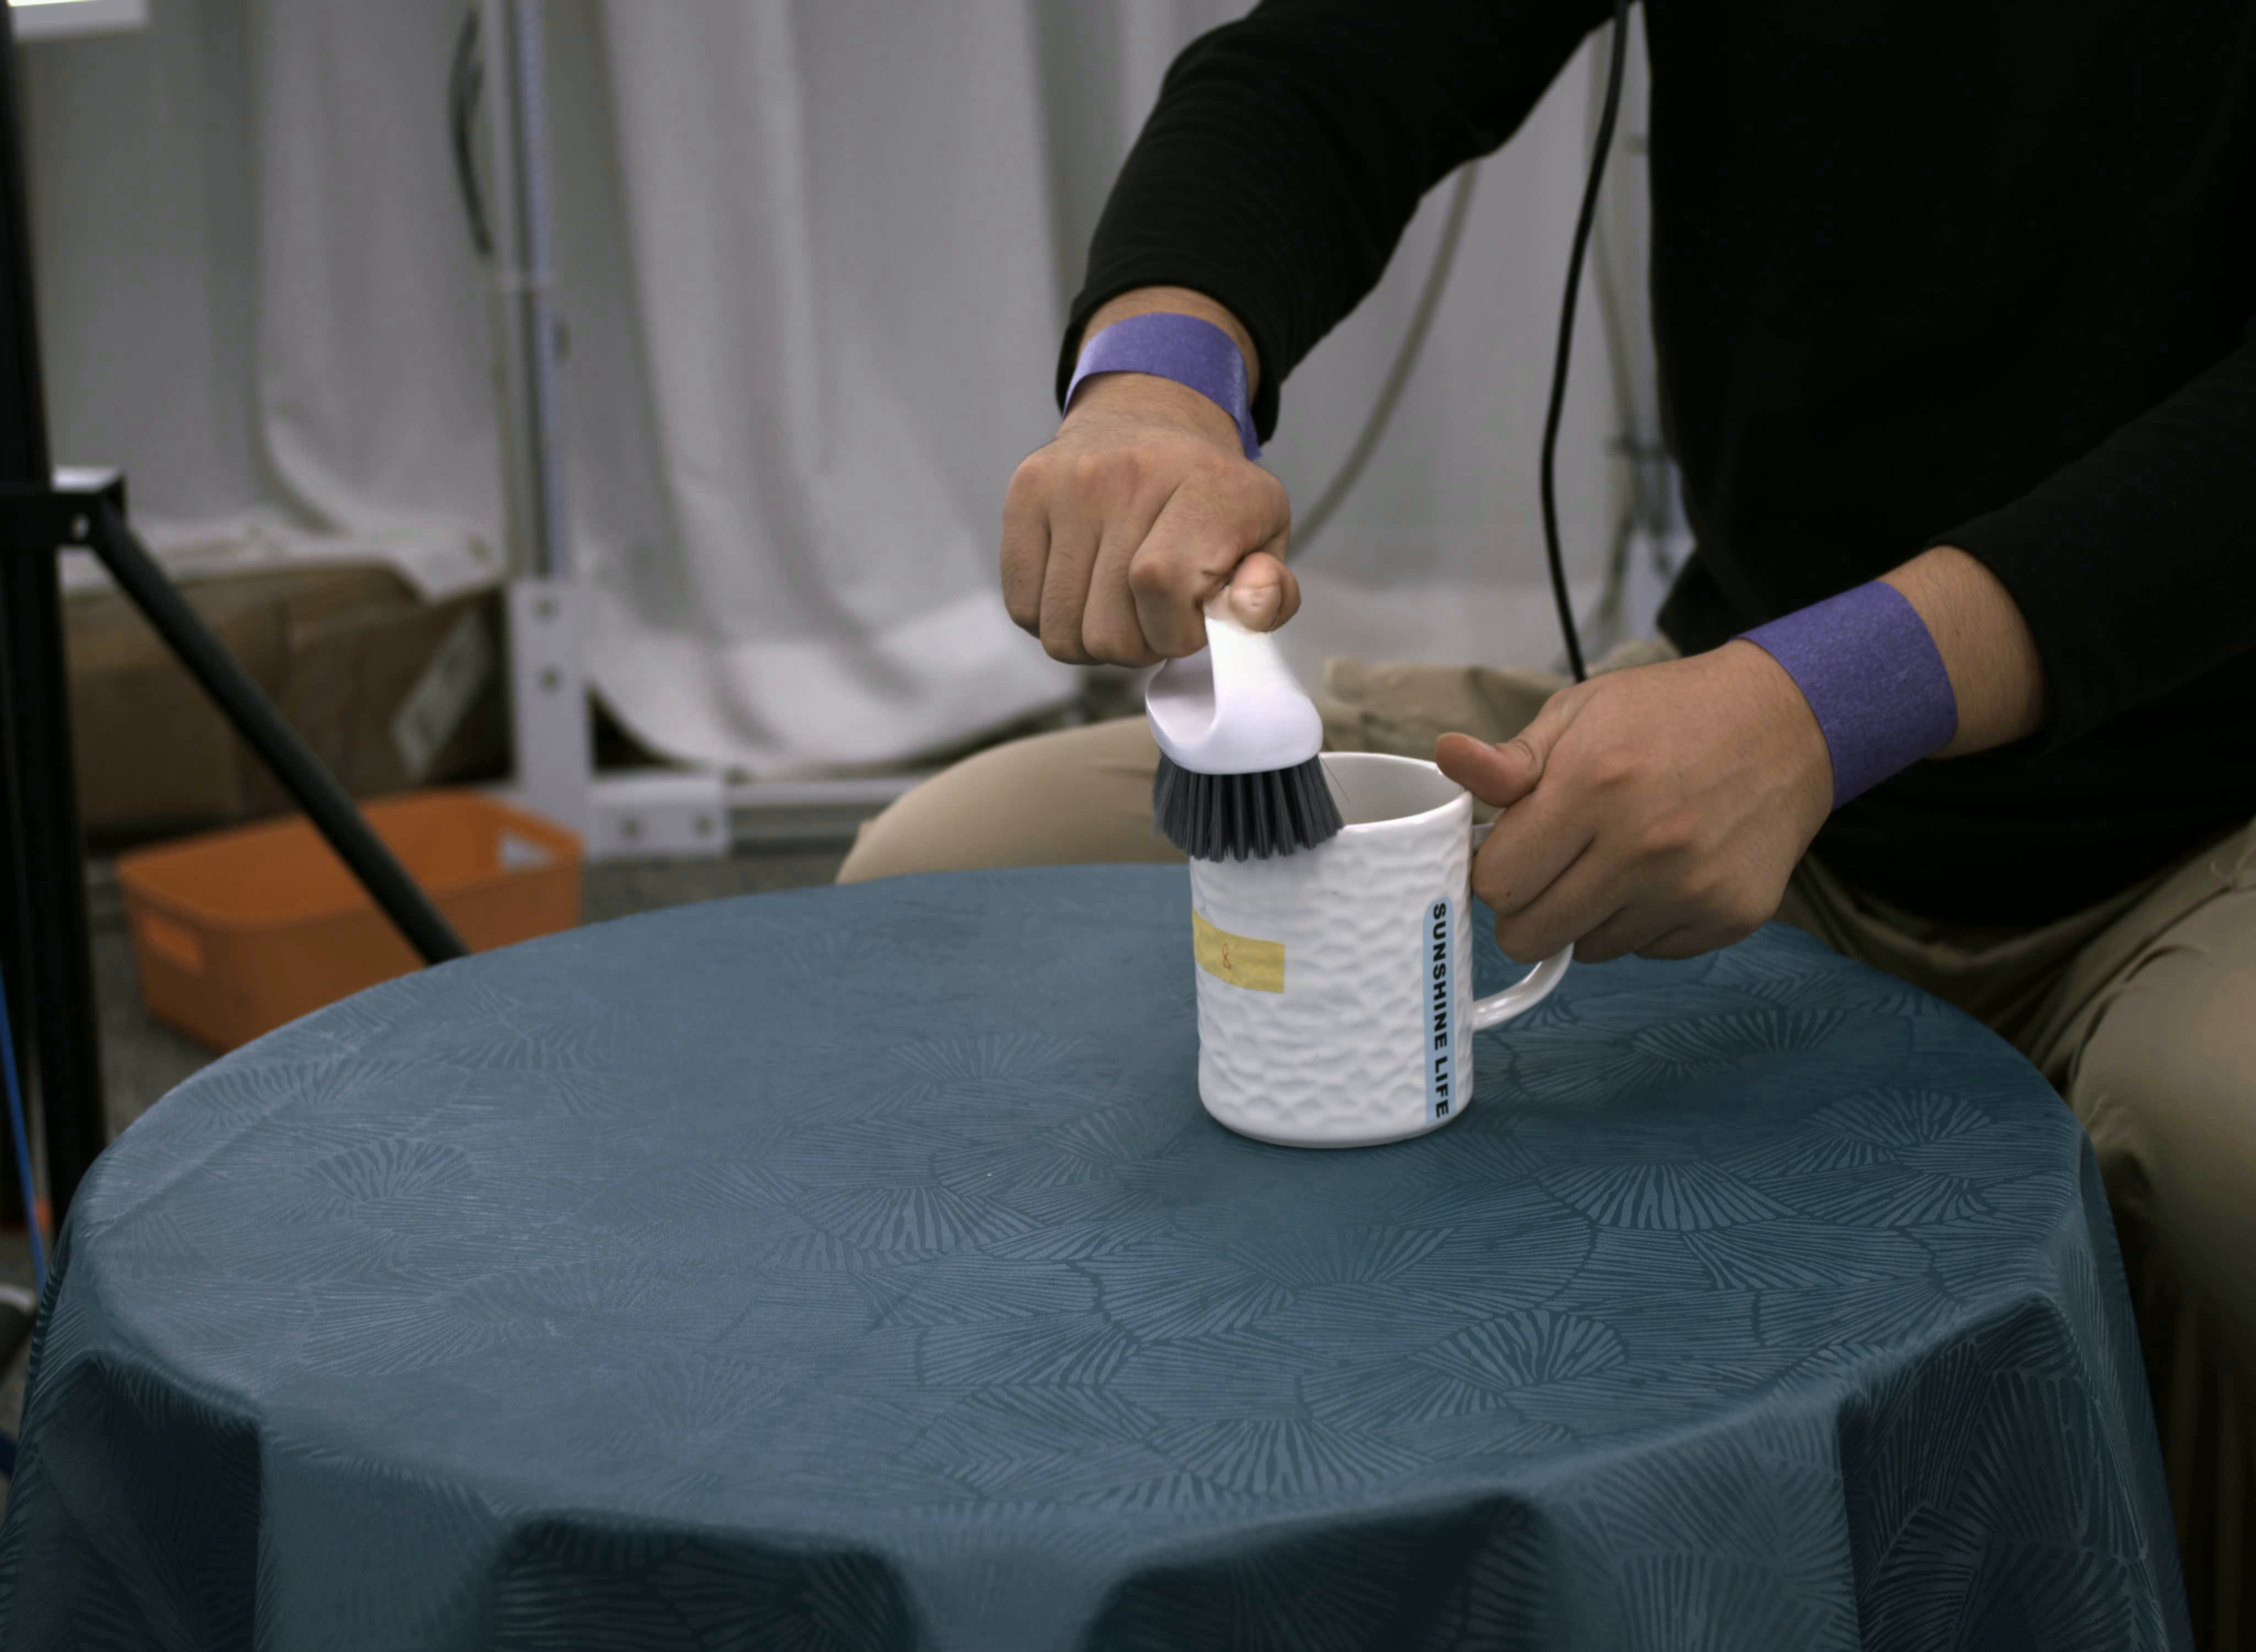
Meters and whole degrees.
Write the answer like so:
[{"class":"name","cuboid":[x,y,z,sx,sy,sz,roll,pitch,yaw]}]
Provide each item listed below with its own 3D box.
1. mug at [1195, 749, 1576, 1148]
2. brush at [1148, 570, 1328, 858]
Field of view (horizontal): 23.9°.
[{"class":"mug","cuboid":[0.079,0.036,1.613,0.117,0.102,0.086,-4,16,-11]},{"class":"brush","cuboid":[0.031,-0.038,1.579,0.050,0.072,0.100,-6,16,-2]}]
